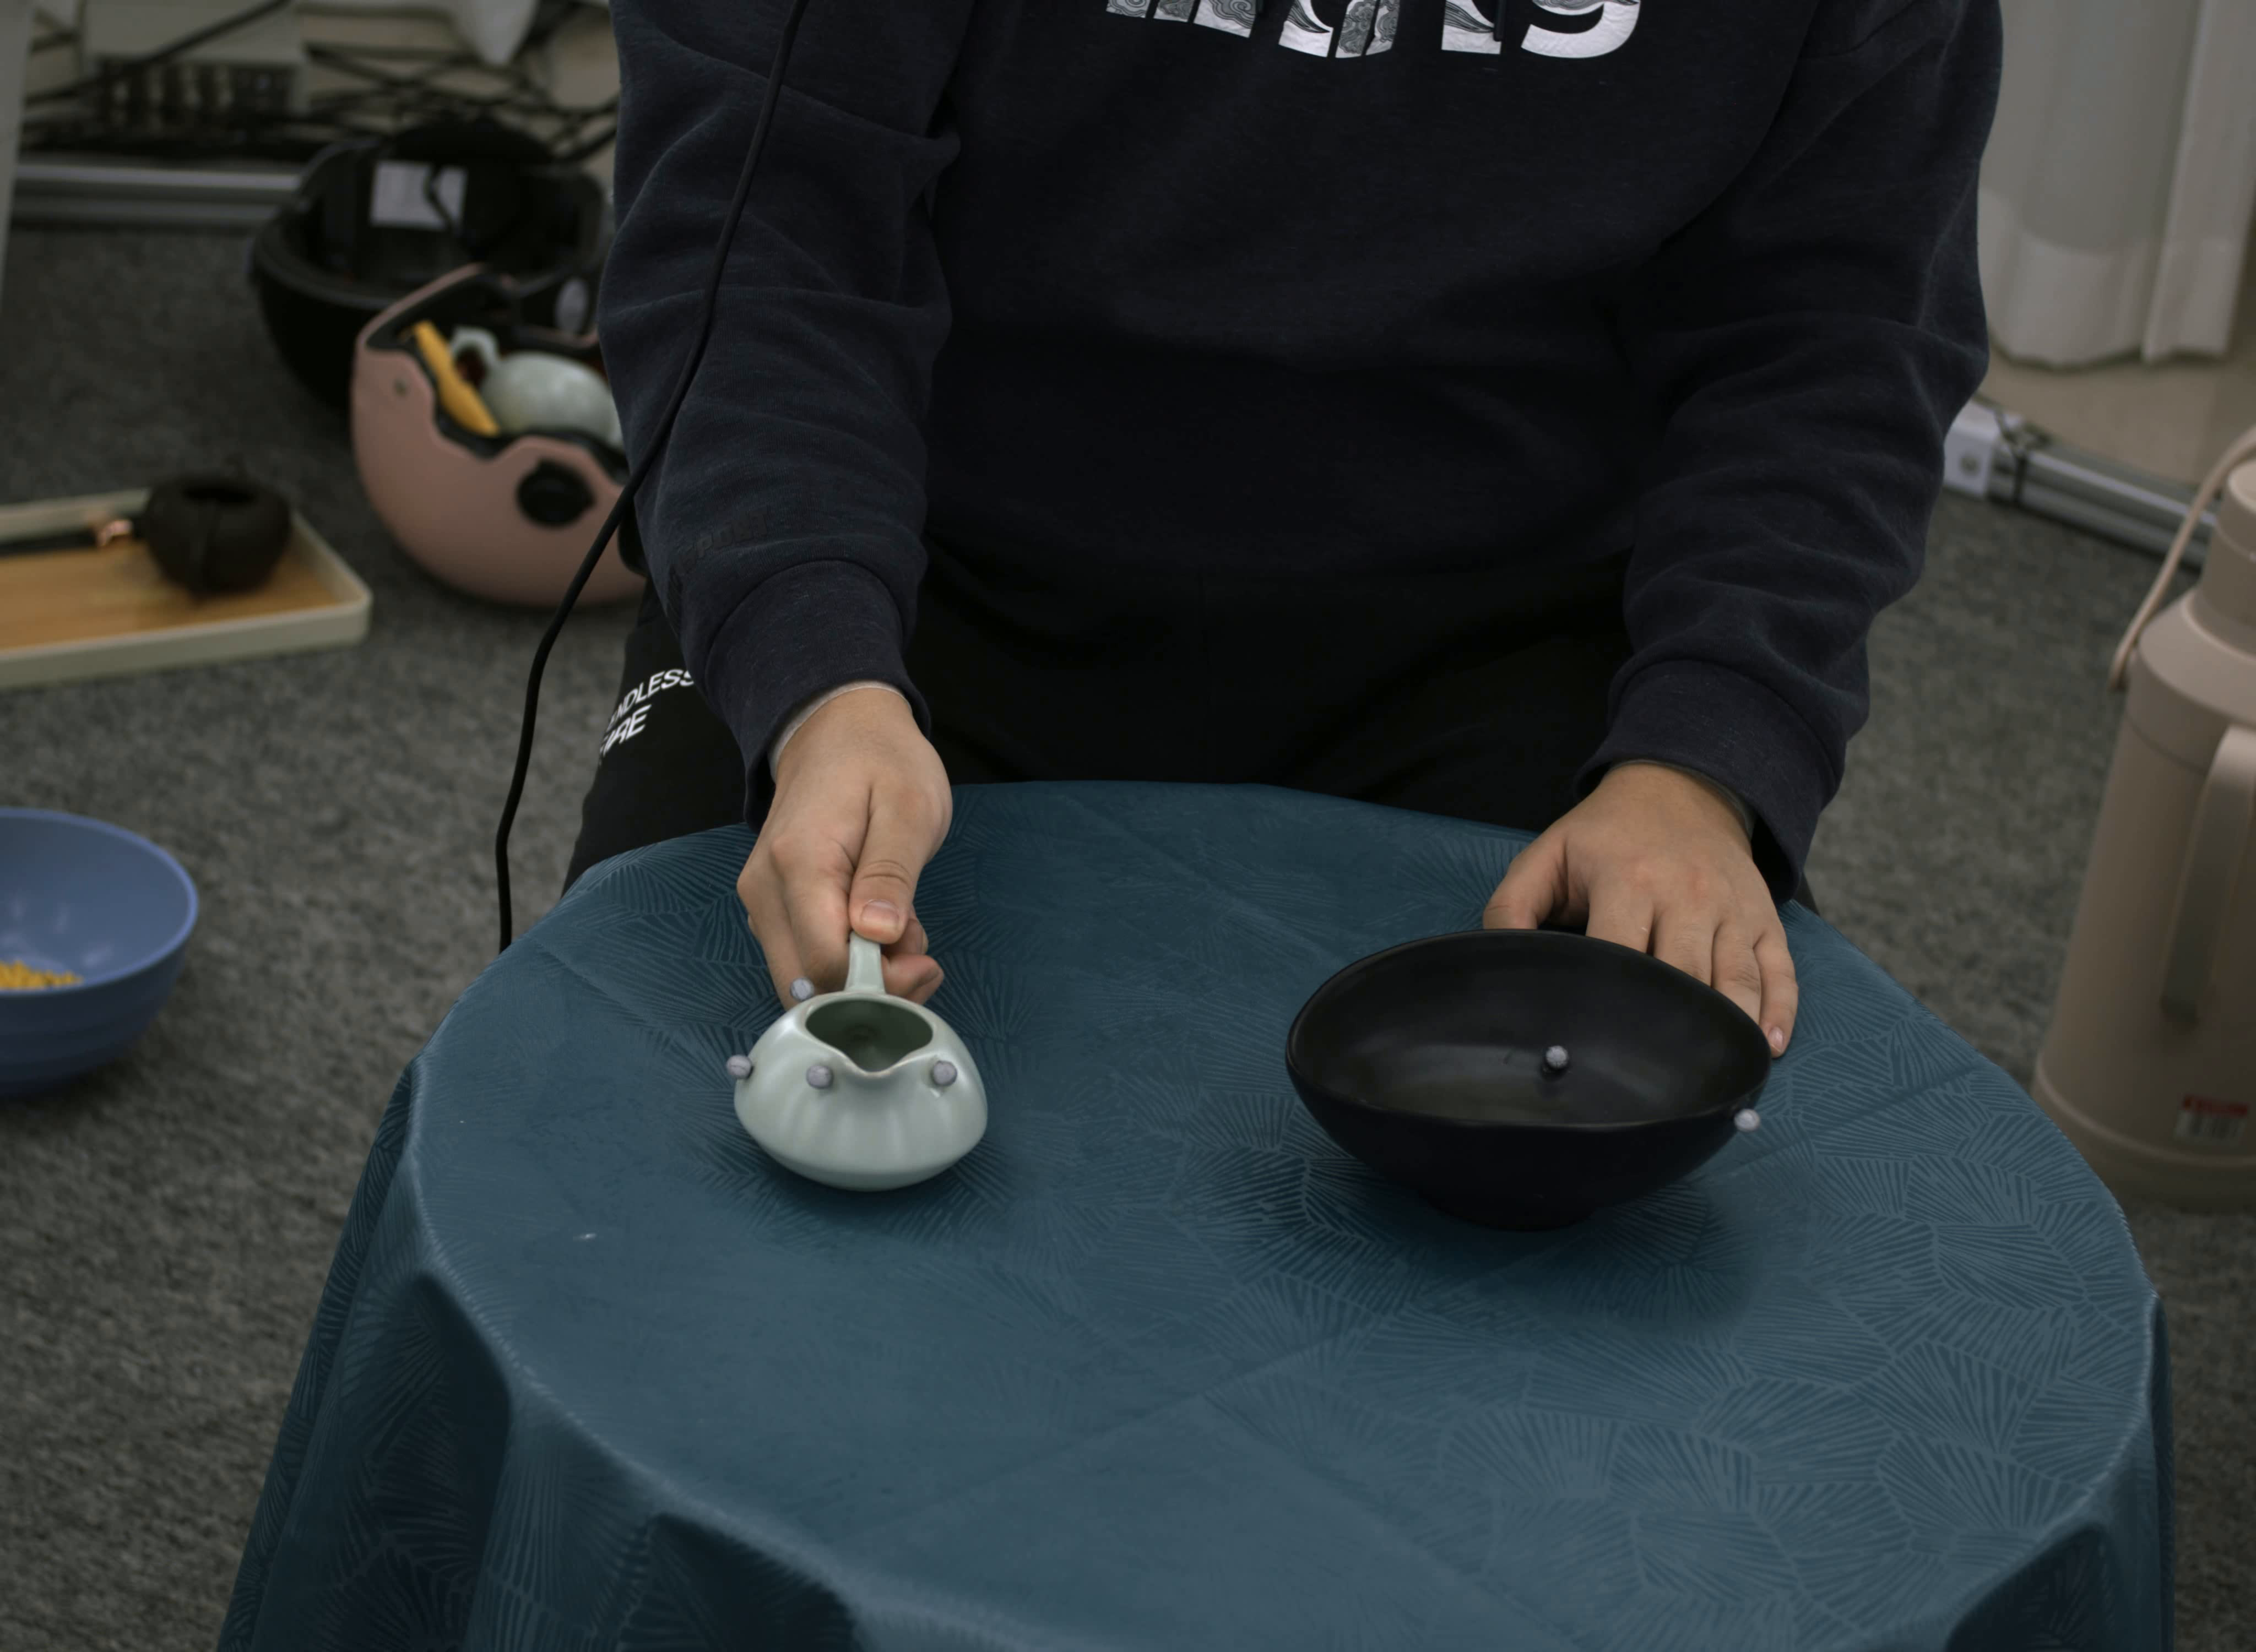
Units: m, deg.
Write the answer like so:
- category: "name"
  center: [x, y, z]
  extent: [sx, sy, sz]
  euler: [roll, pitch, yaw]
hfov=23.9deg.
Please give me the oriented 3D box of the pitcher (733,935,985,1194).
- category: "pitcher"
  center: [-0.091, 0.082, 1.805]
  extent: [0.085, 0.060, 0.109]
  euler: [4, 25, -8]

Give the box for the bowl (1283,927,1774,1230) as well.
- category: "bowl"
  center: [0.136, 0.096, 1.825]
  extent: [0.169, 0.066, 0.138]
  euler: [-2, 27, -16]
